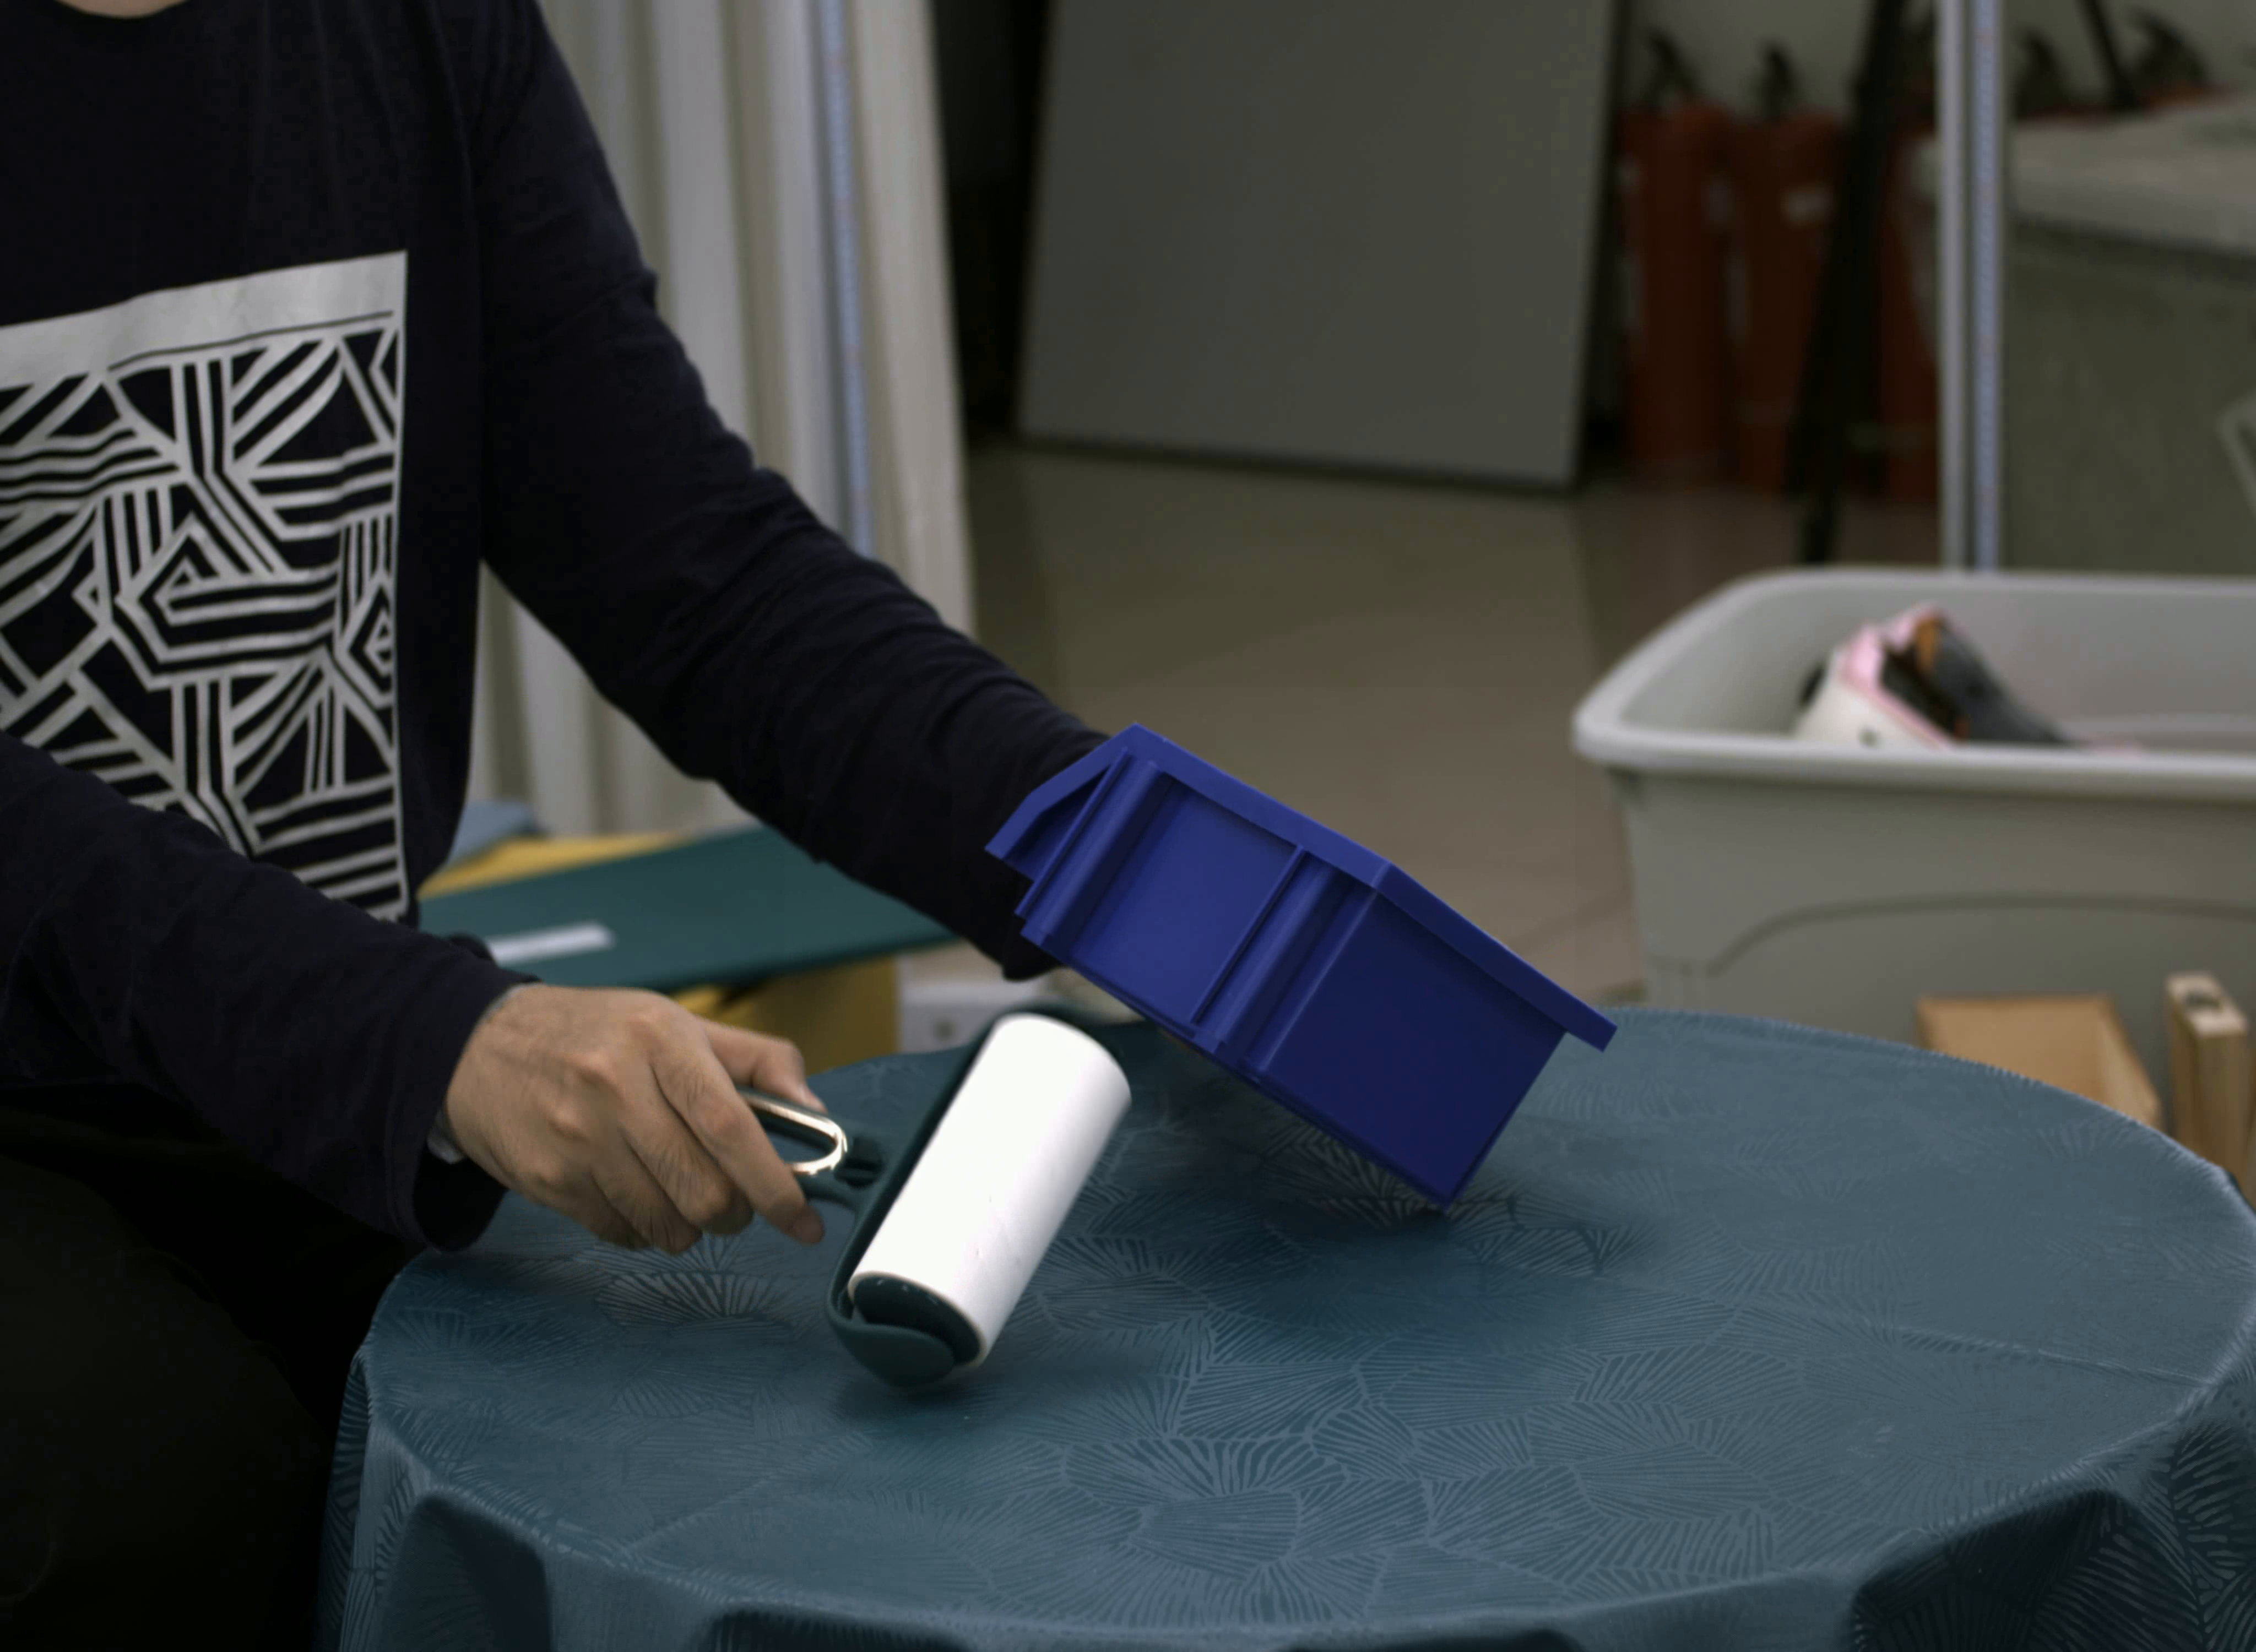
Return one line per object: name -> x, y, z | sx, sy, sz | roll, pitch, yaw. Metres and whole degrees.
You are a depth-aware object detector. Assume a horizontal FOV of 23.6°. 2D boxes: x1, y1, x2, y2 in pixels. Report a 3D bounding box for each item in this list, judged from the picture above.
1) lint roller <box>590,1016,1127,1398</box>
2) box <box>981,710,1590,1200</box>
lint roller -> -0.097, 0.103, 1.652 | 0.181, 0.048, 0.134 | 10, 51, 31
box -> 0.043, 0.039, 1.757 | 0.122, 0.082, 0.181 | 33, 0, -35
